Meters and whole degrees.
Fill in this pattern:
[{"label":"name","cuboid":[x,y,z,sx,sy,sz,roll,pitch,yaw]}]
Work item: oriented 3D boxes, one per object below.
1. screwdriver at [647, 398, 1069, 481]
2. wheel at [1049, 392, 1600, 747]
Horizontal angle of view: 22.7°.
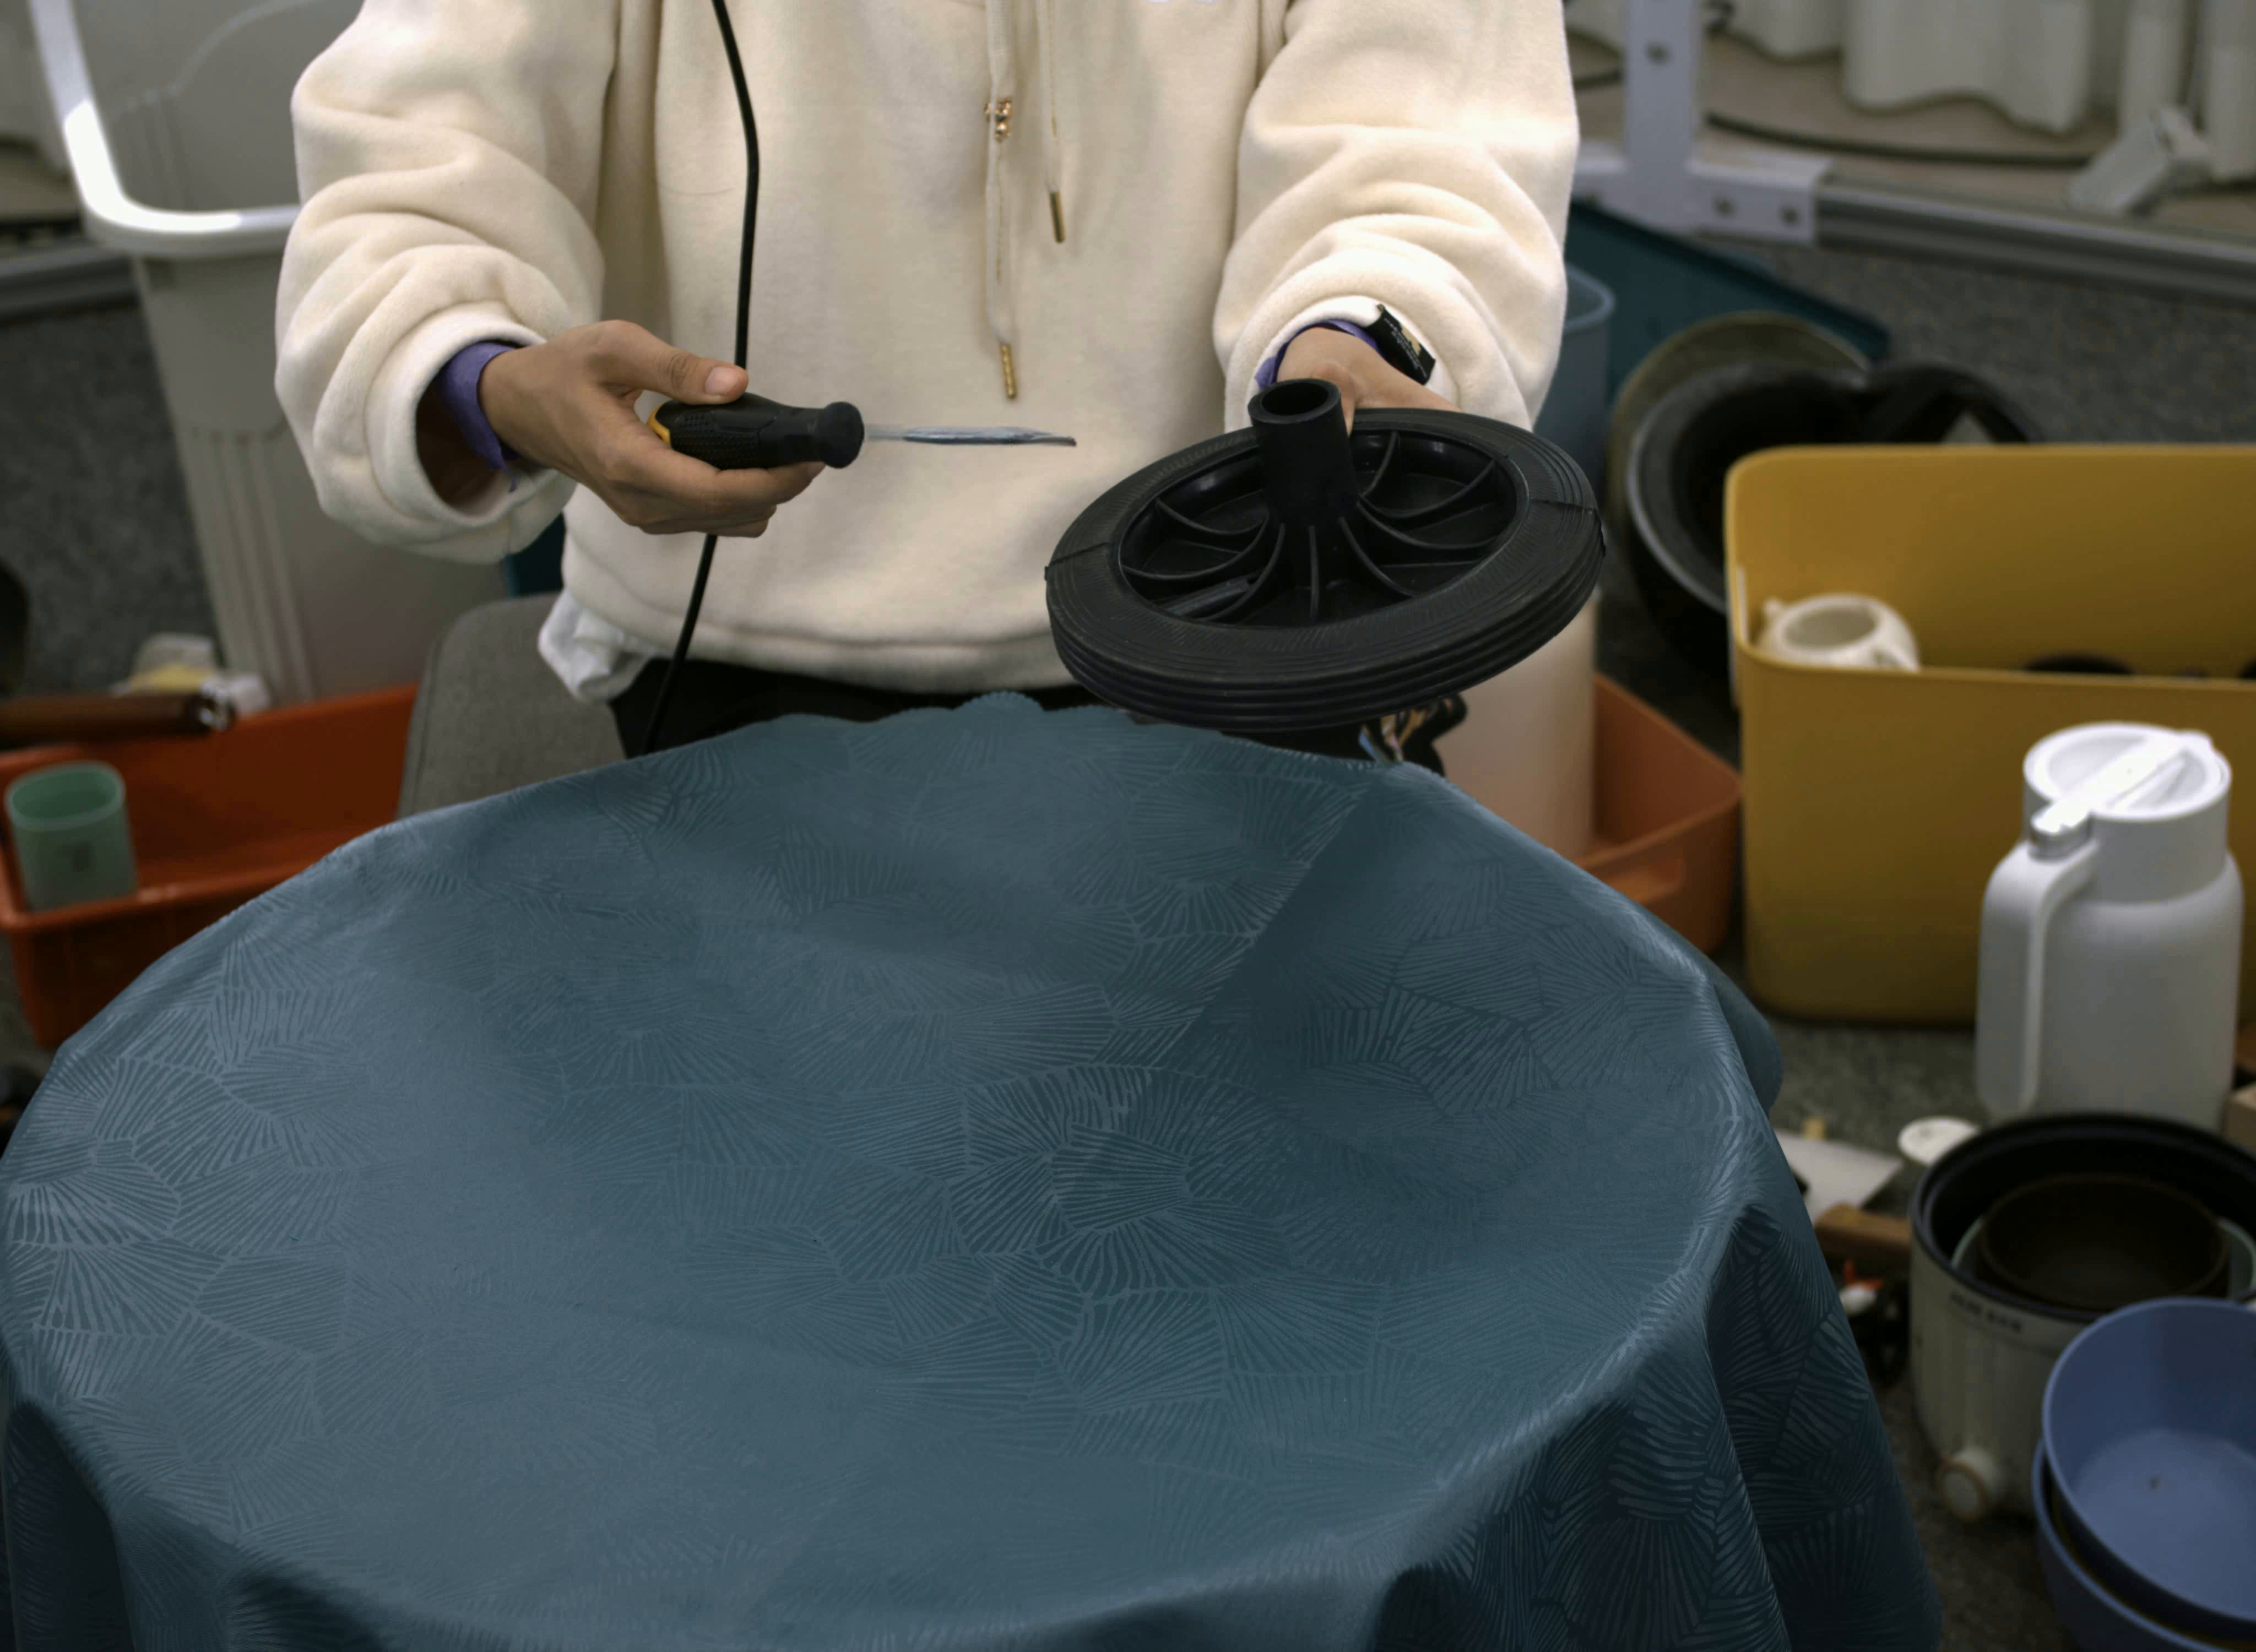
[{"label":"screwdriver","cuboid":[-0.094,-0.133,1.971,0.196,0.031,0.032,5,26,39]},{"label":"wheel","cuboid":[0.061,-0.103,1.879,0.187,0.078,0.192,17,42,39]}]
